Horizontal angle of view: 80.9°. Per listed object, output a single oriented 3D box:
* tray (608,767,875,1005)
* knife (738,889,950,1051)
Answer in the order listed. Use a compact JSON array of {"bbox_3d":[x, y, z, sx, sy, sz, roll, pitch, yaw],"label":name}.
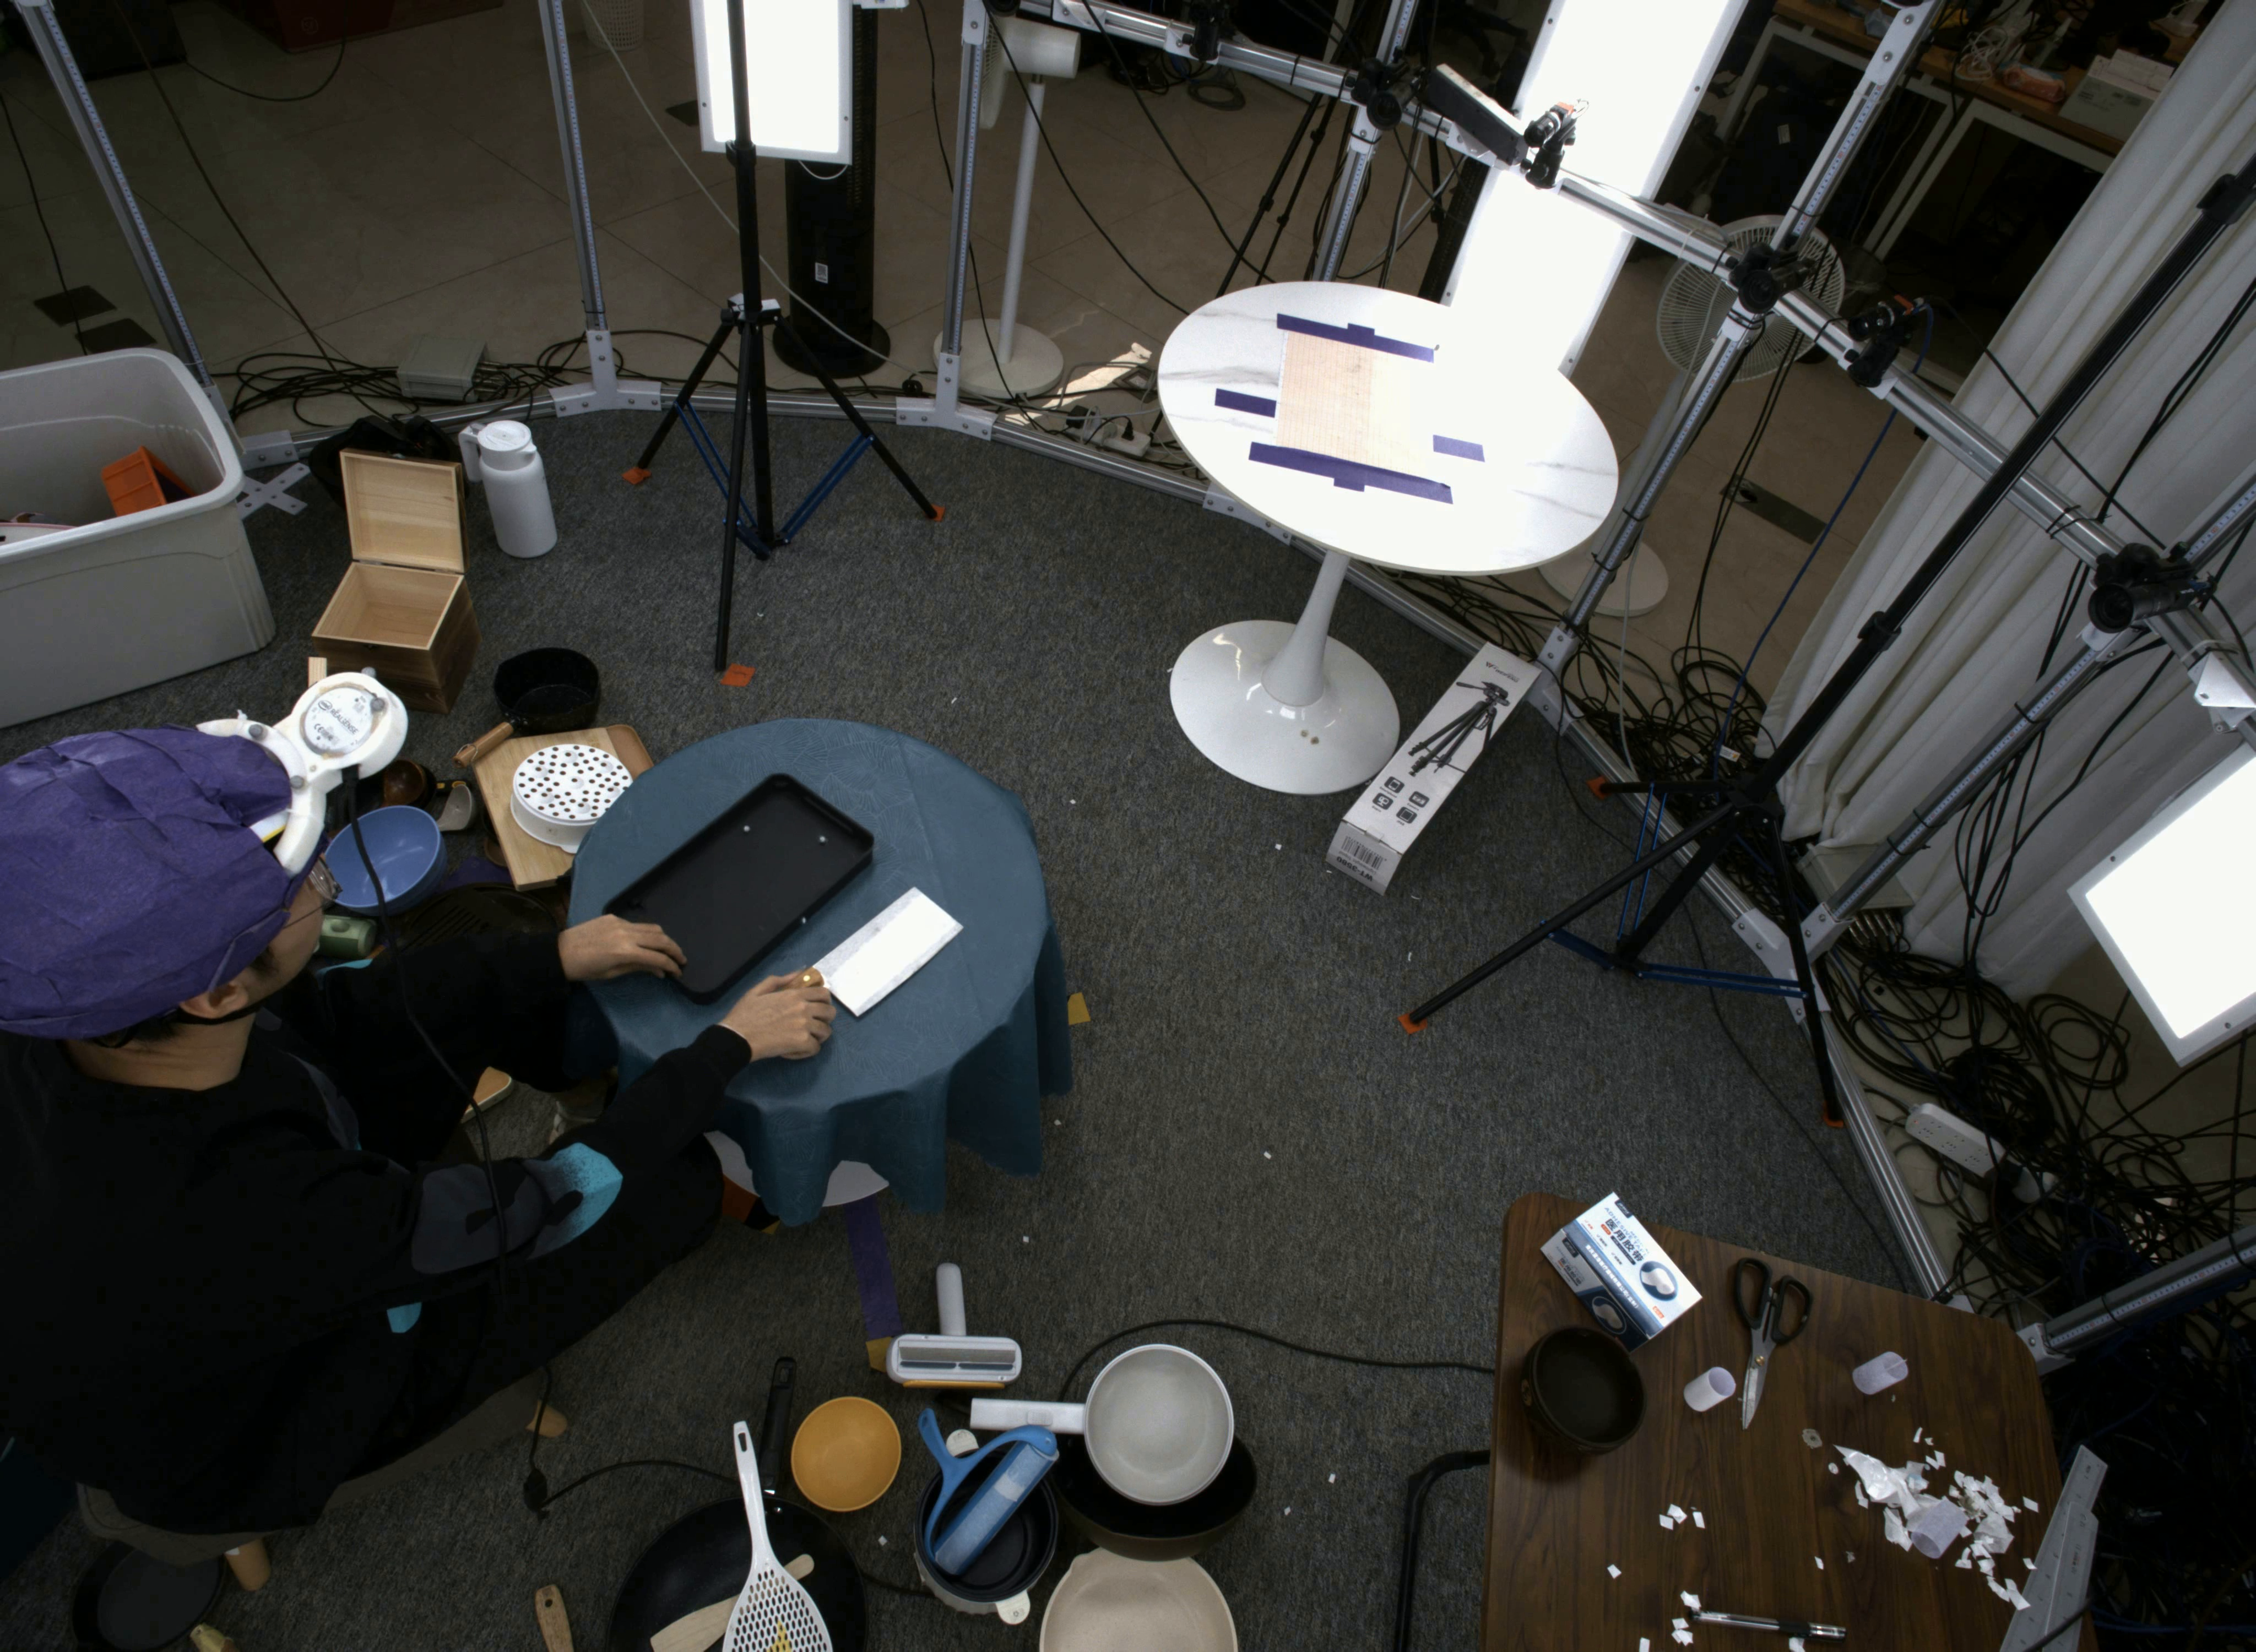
[{"bbox_3d":[-0.481,0.066,1.626,0.181,0.038,0.317,33,53,10],"label":"tray"},{"bbox_3d":[-0.337,0.182,1.591,0.091,0.021,0.306,38,51,13],"label":"knife"}]
